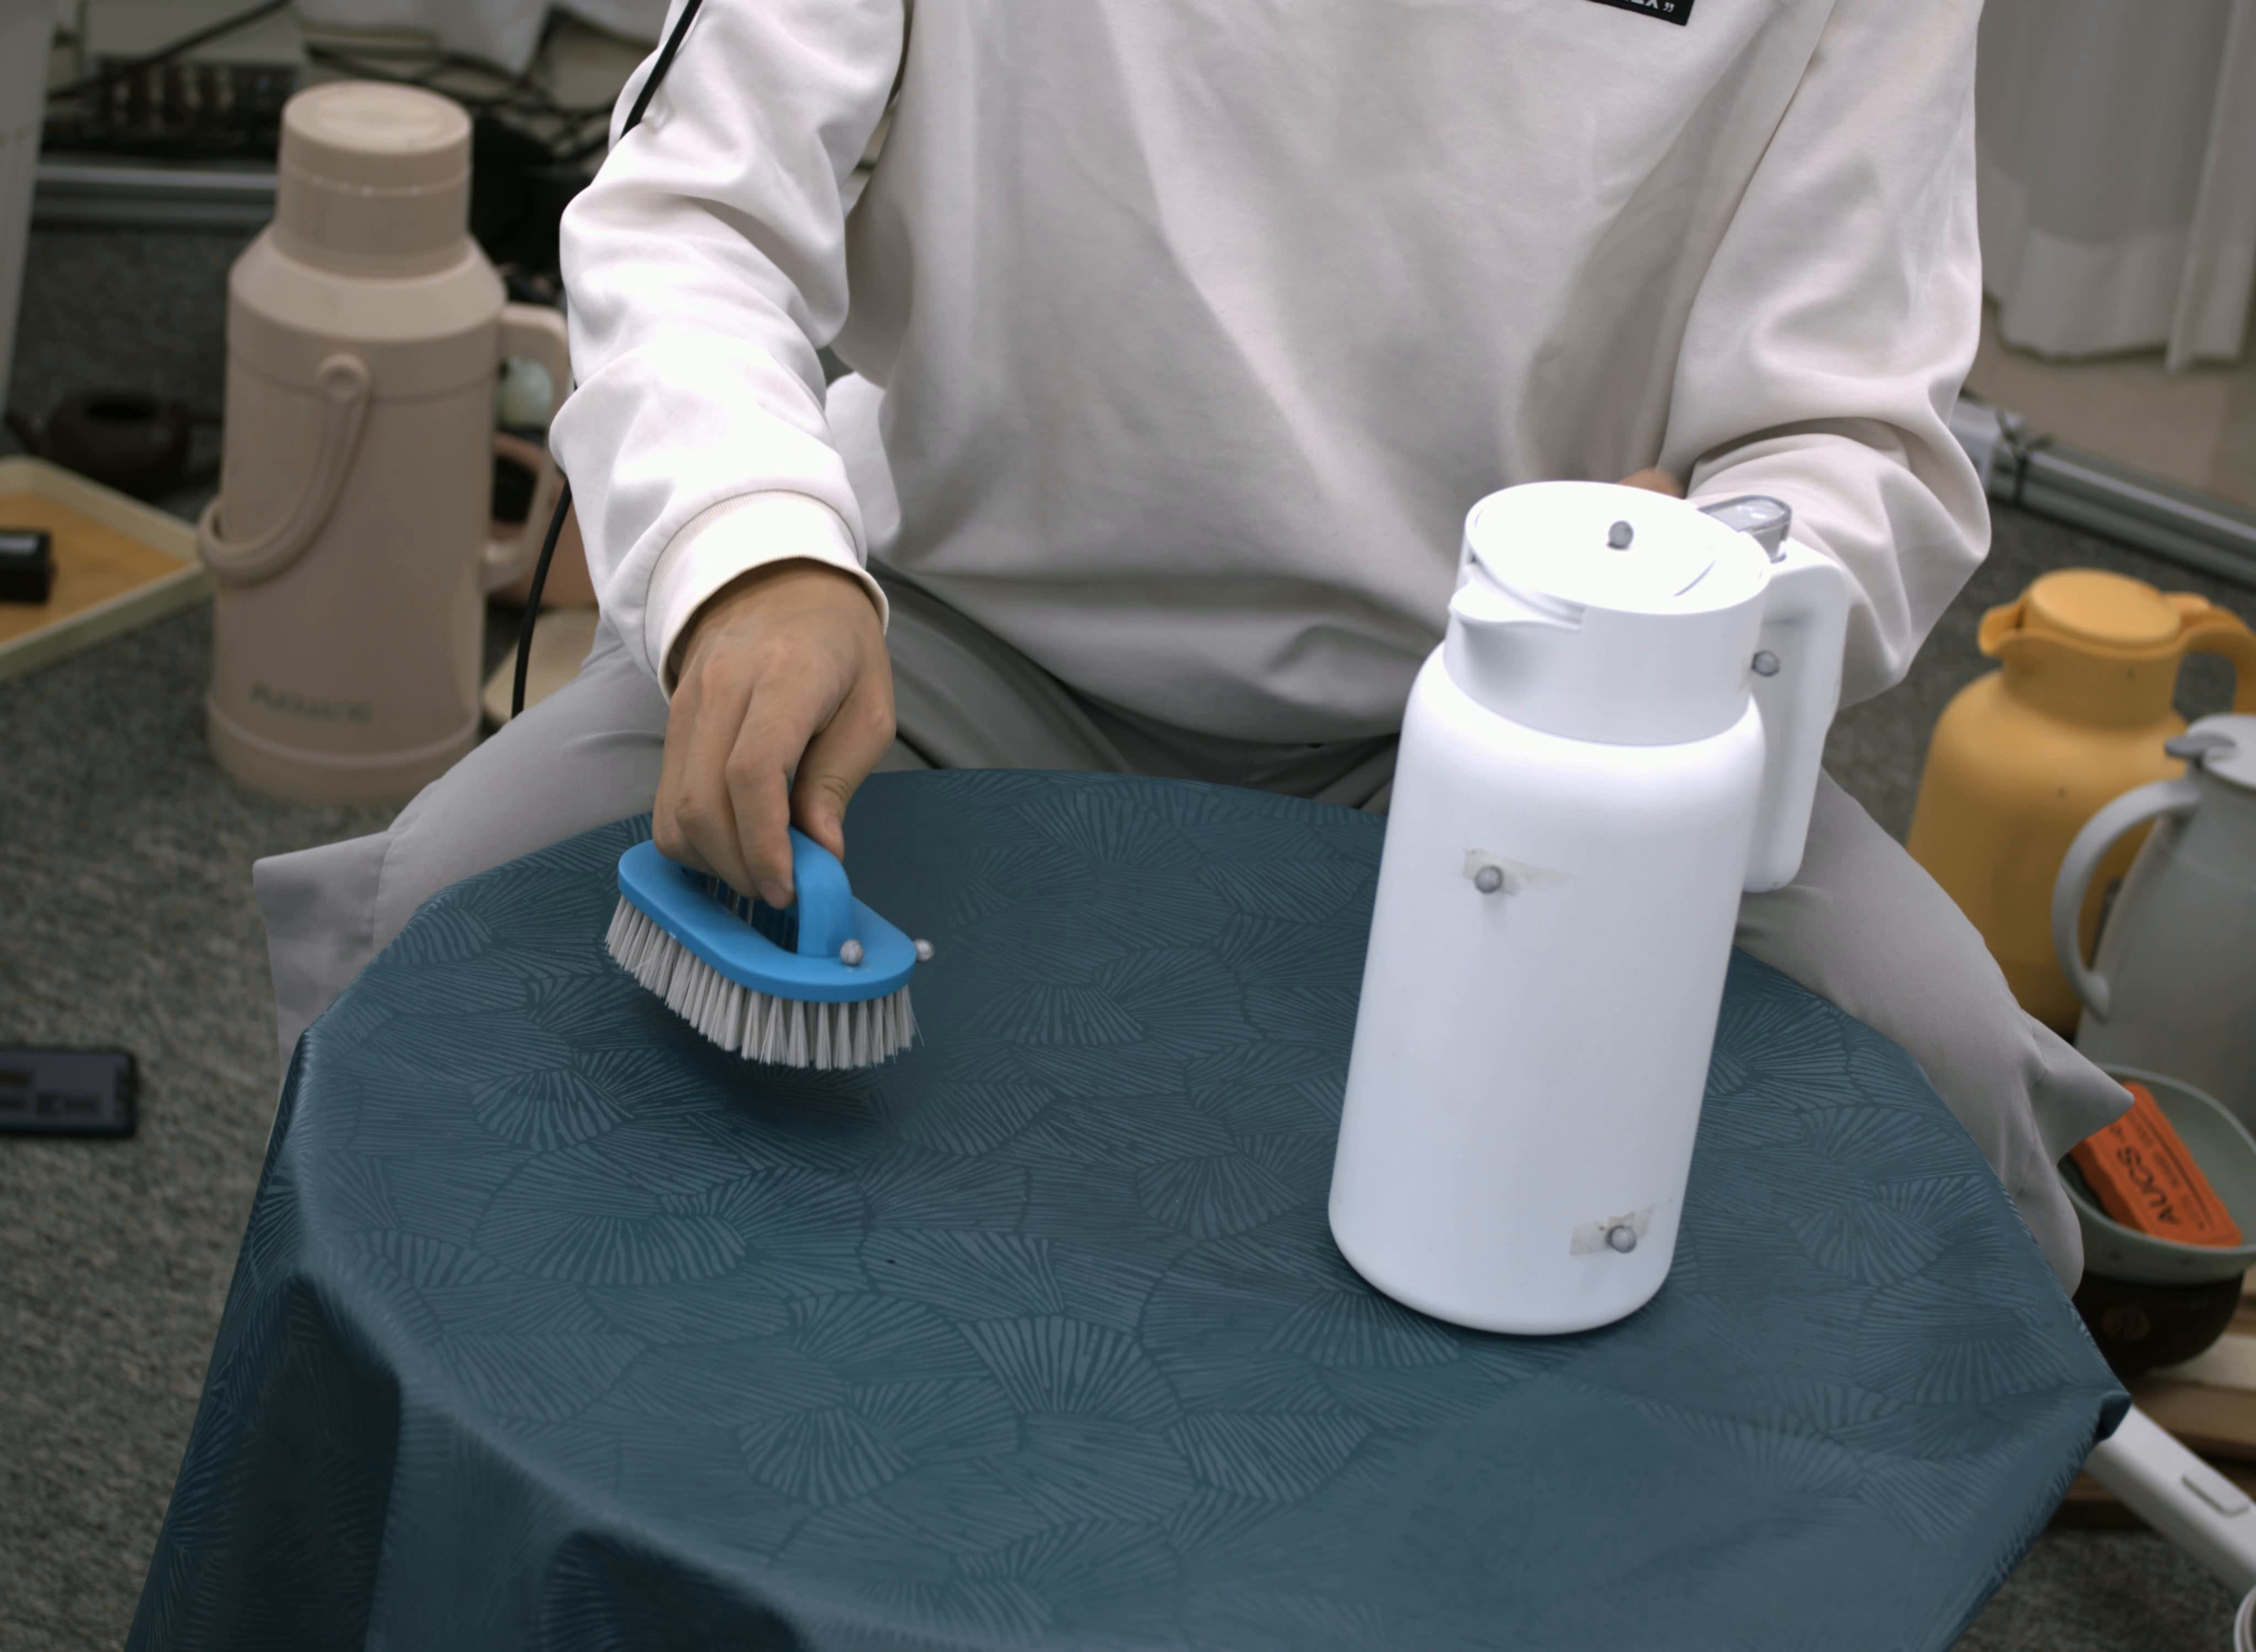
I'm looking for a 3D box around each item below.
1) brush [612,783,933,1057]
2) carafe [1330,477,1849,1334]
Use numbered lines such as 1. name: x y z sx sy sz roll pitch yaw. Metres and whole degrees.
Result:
1. brush: -0.125 0.025 1.842 0.084 0.063 0.143 -9 25 -30
2. carafe: 0.152 0.022 1.748 0.172 0.268 0.125 -15 32 -38
